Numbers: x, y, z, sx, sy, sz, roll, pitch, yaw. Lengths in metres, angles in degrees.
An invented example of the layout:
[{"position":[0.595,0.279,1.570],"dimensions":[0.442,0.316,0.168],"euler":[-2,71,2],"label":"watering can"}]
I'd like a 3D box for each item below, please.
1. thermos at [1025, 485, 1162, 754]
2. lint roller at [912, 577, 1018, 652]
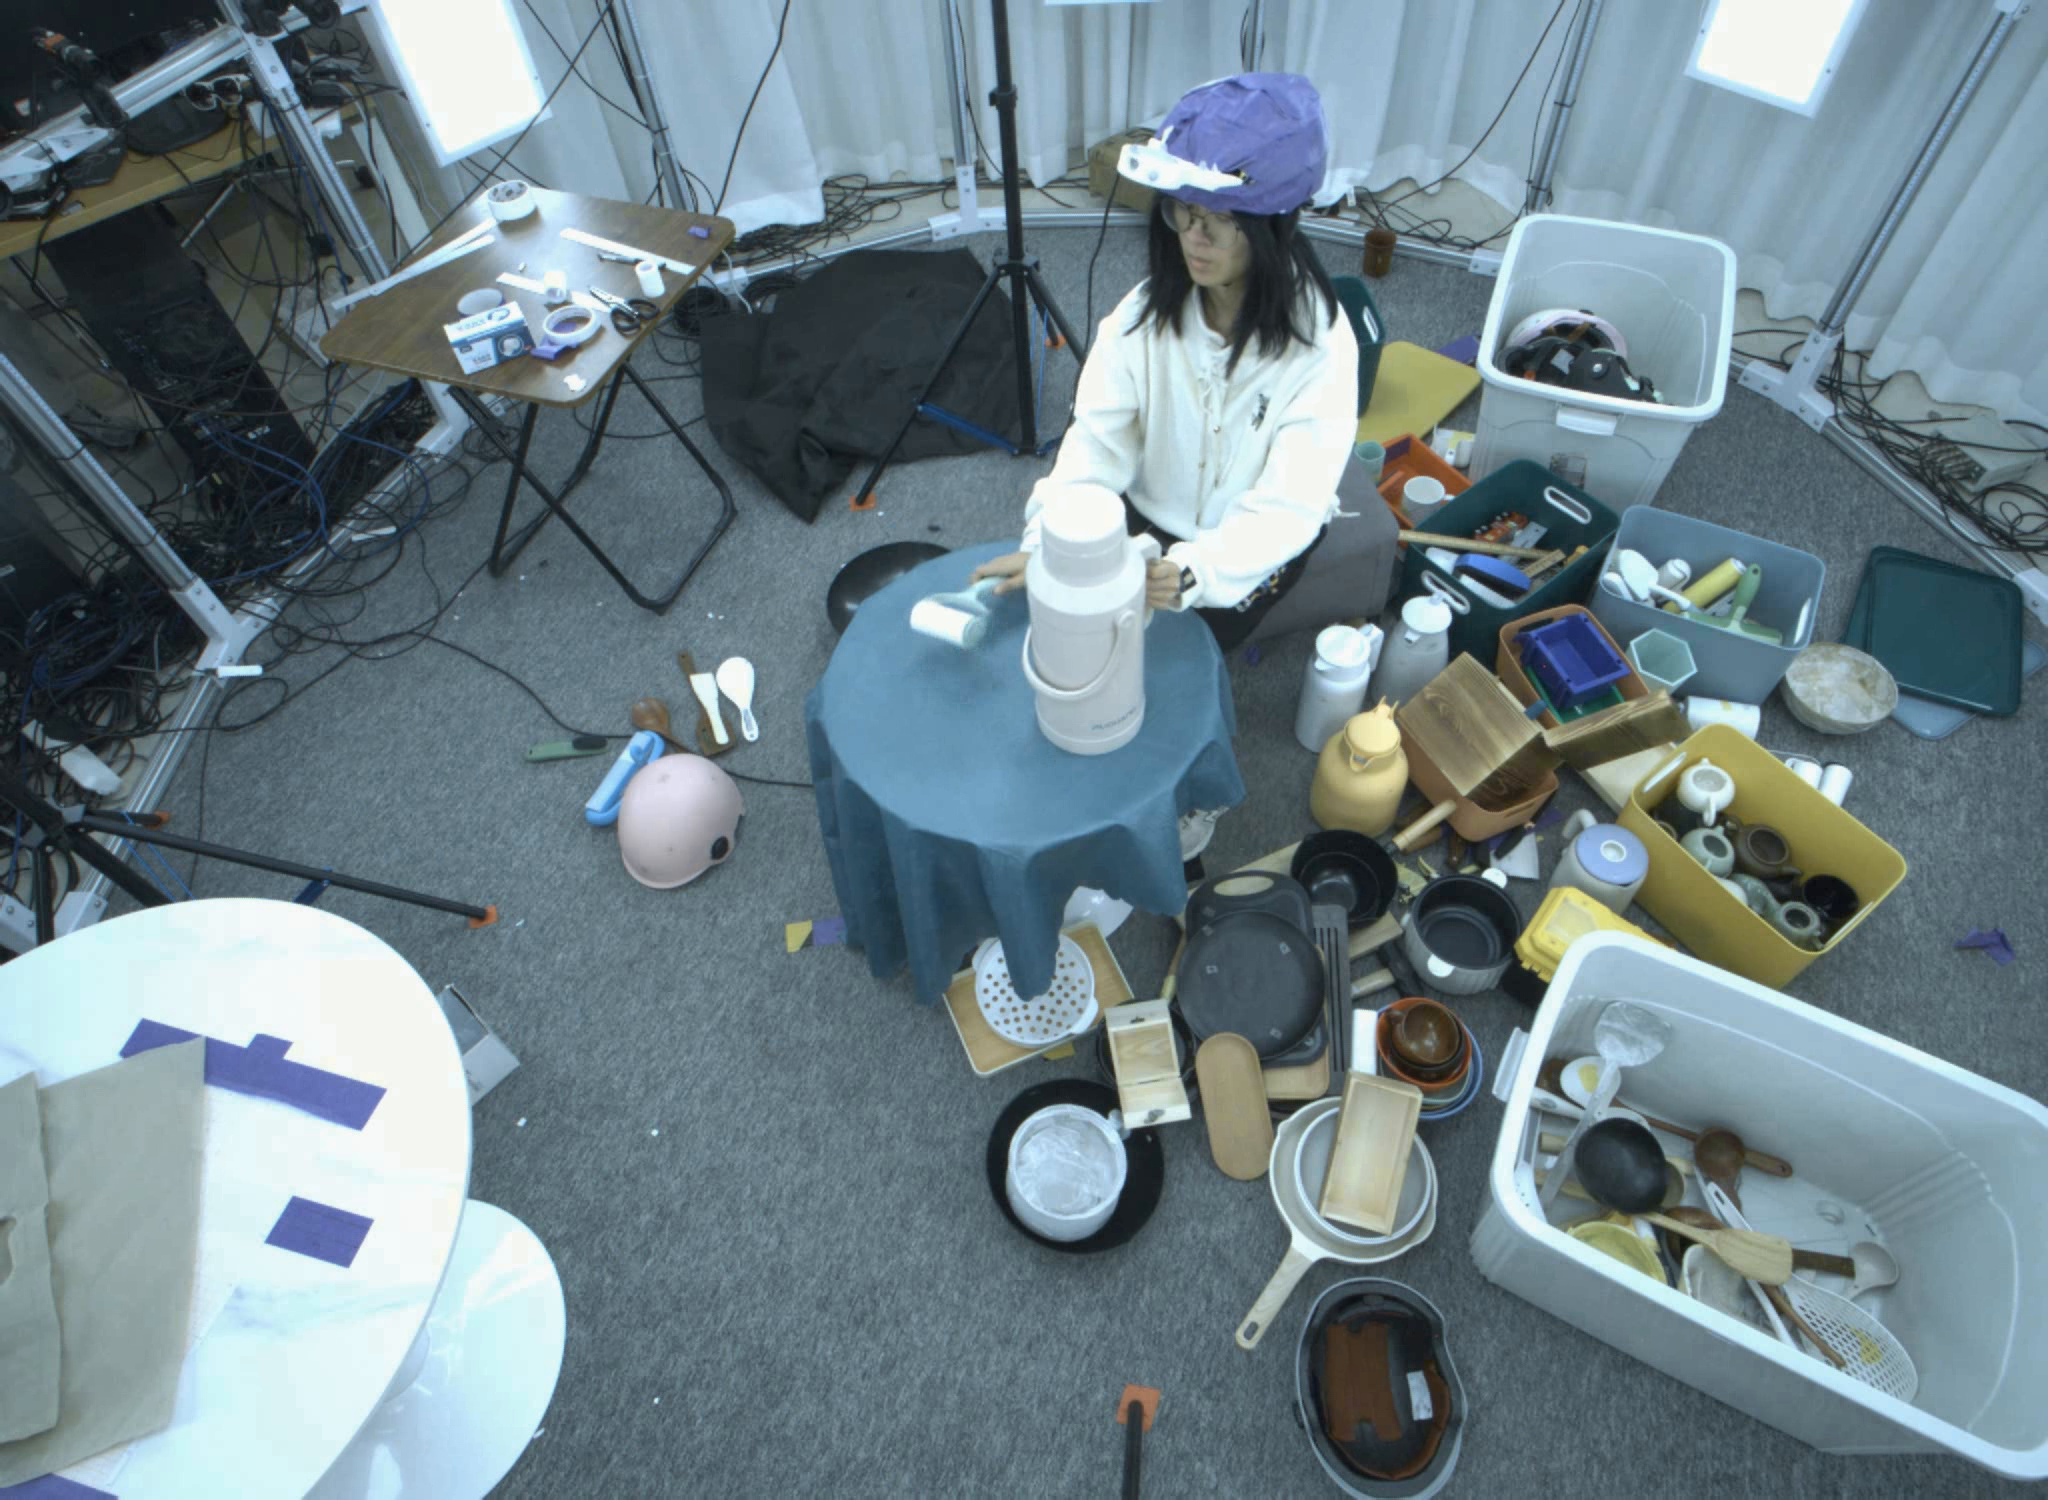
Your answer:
[{"position":[0.097,-0.178,1.666],"dimensions":[0.208,0.411,0.172],"euler":[-32,58,-18],"label":"thermos"},{"position":[-0.070,-0.222,1.868],"dimensions":[0.114,0.049,0.199],"euler":[20,48,32],"label":"lint roller"}]
